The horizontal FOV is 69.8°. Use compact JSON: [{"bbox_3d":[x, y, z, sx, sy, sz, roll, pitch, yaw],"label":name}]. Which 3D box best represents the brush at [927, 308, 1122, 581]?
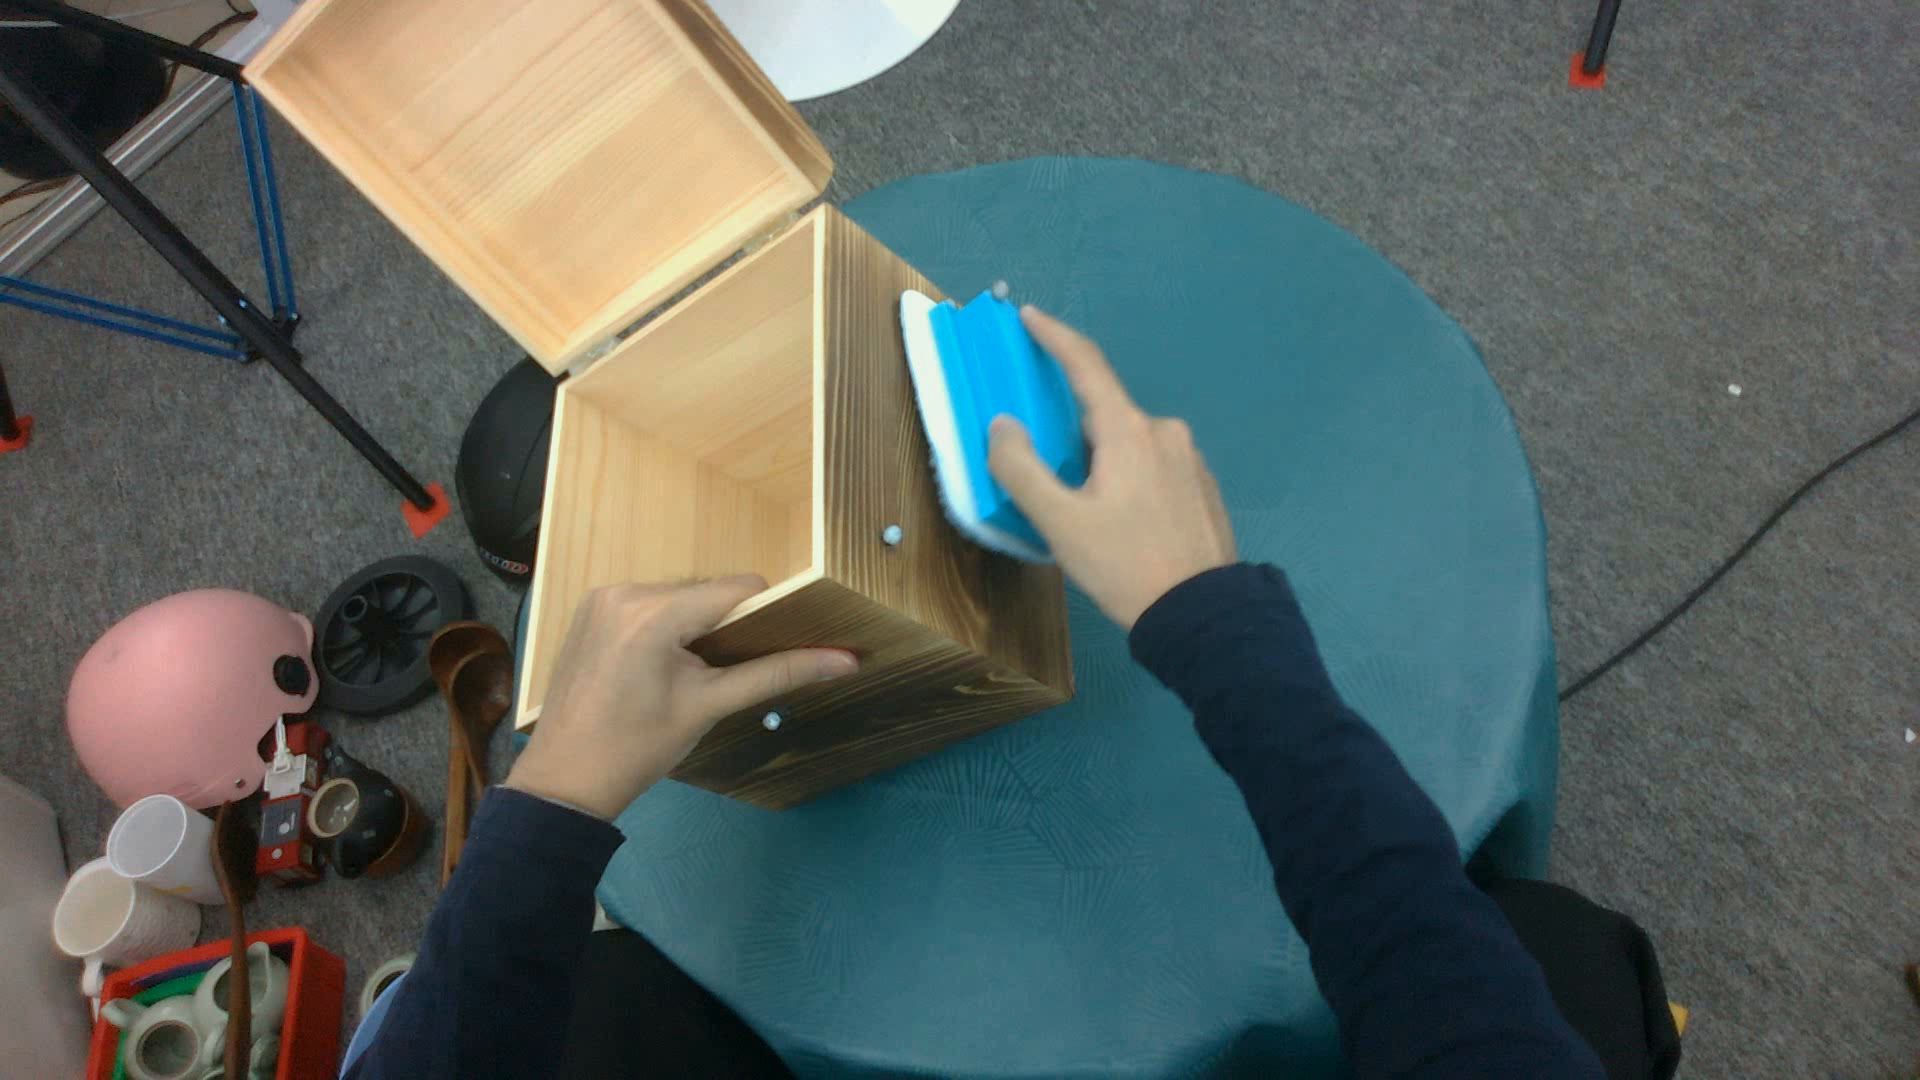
[{"bbox_3d":[0.037,-0.052,0.654,0.055,0.084,0.144,-38,55,32],"label":"brush"}]

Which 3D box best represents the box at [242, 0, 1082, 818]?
[{"bbox_3d":[-0.149,-0.073,0.674,0.208,0.375,0.323,-28,51,32],"label":"box"}]
